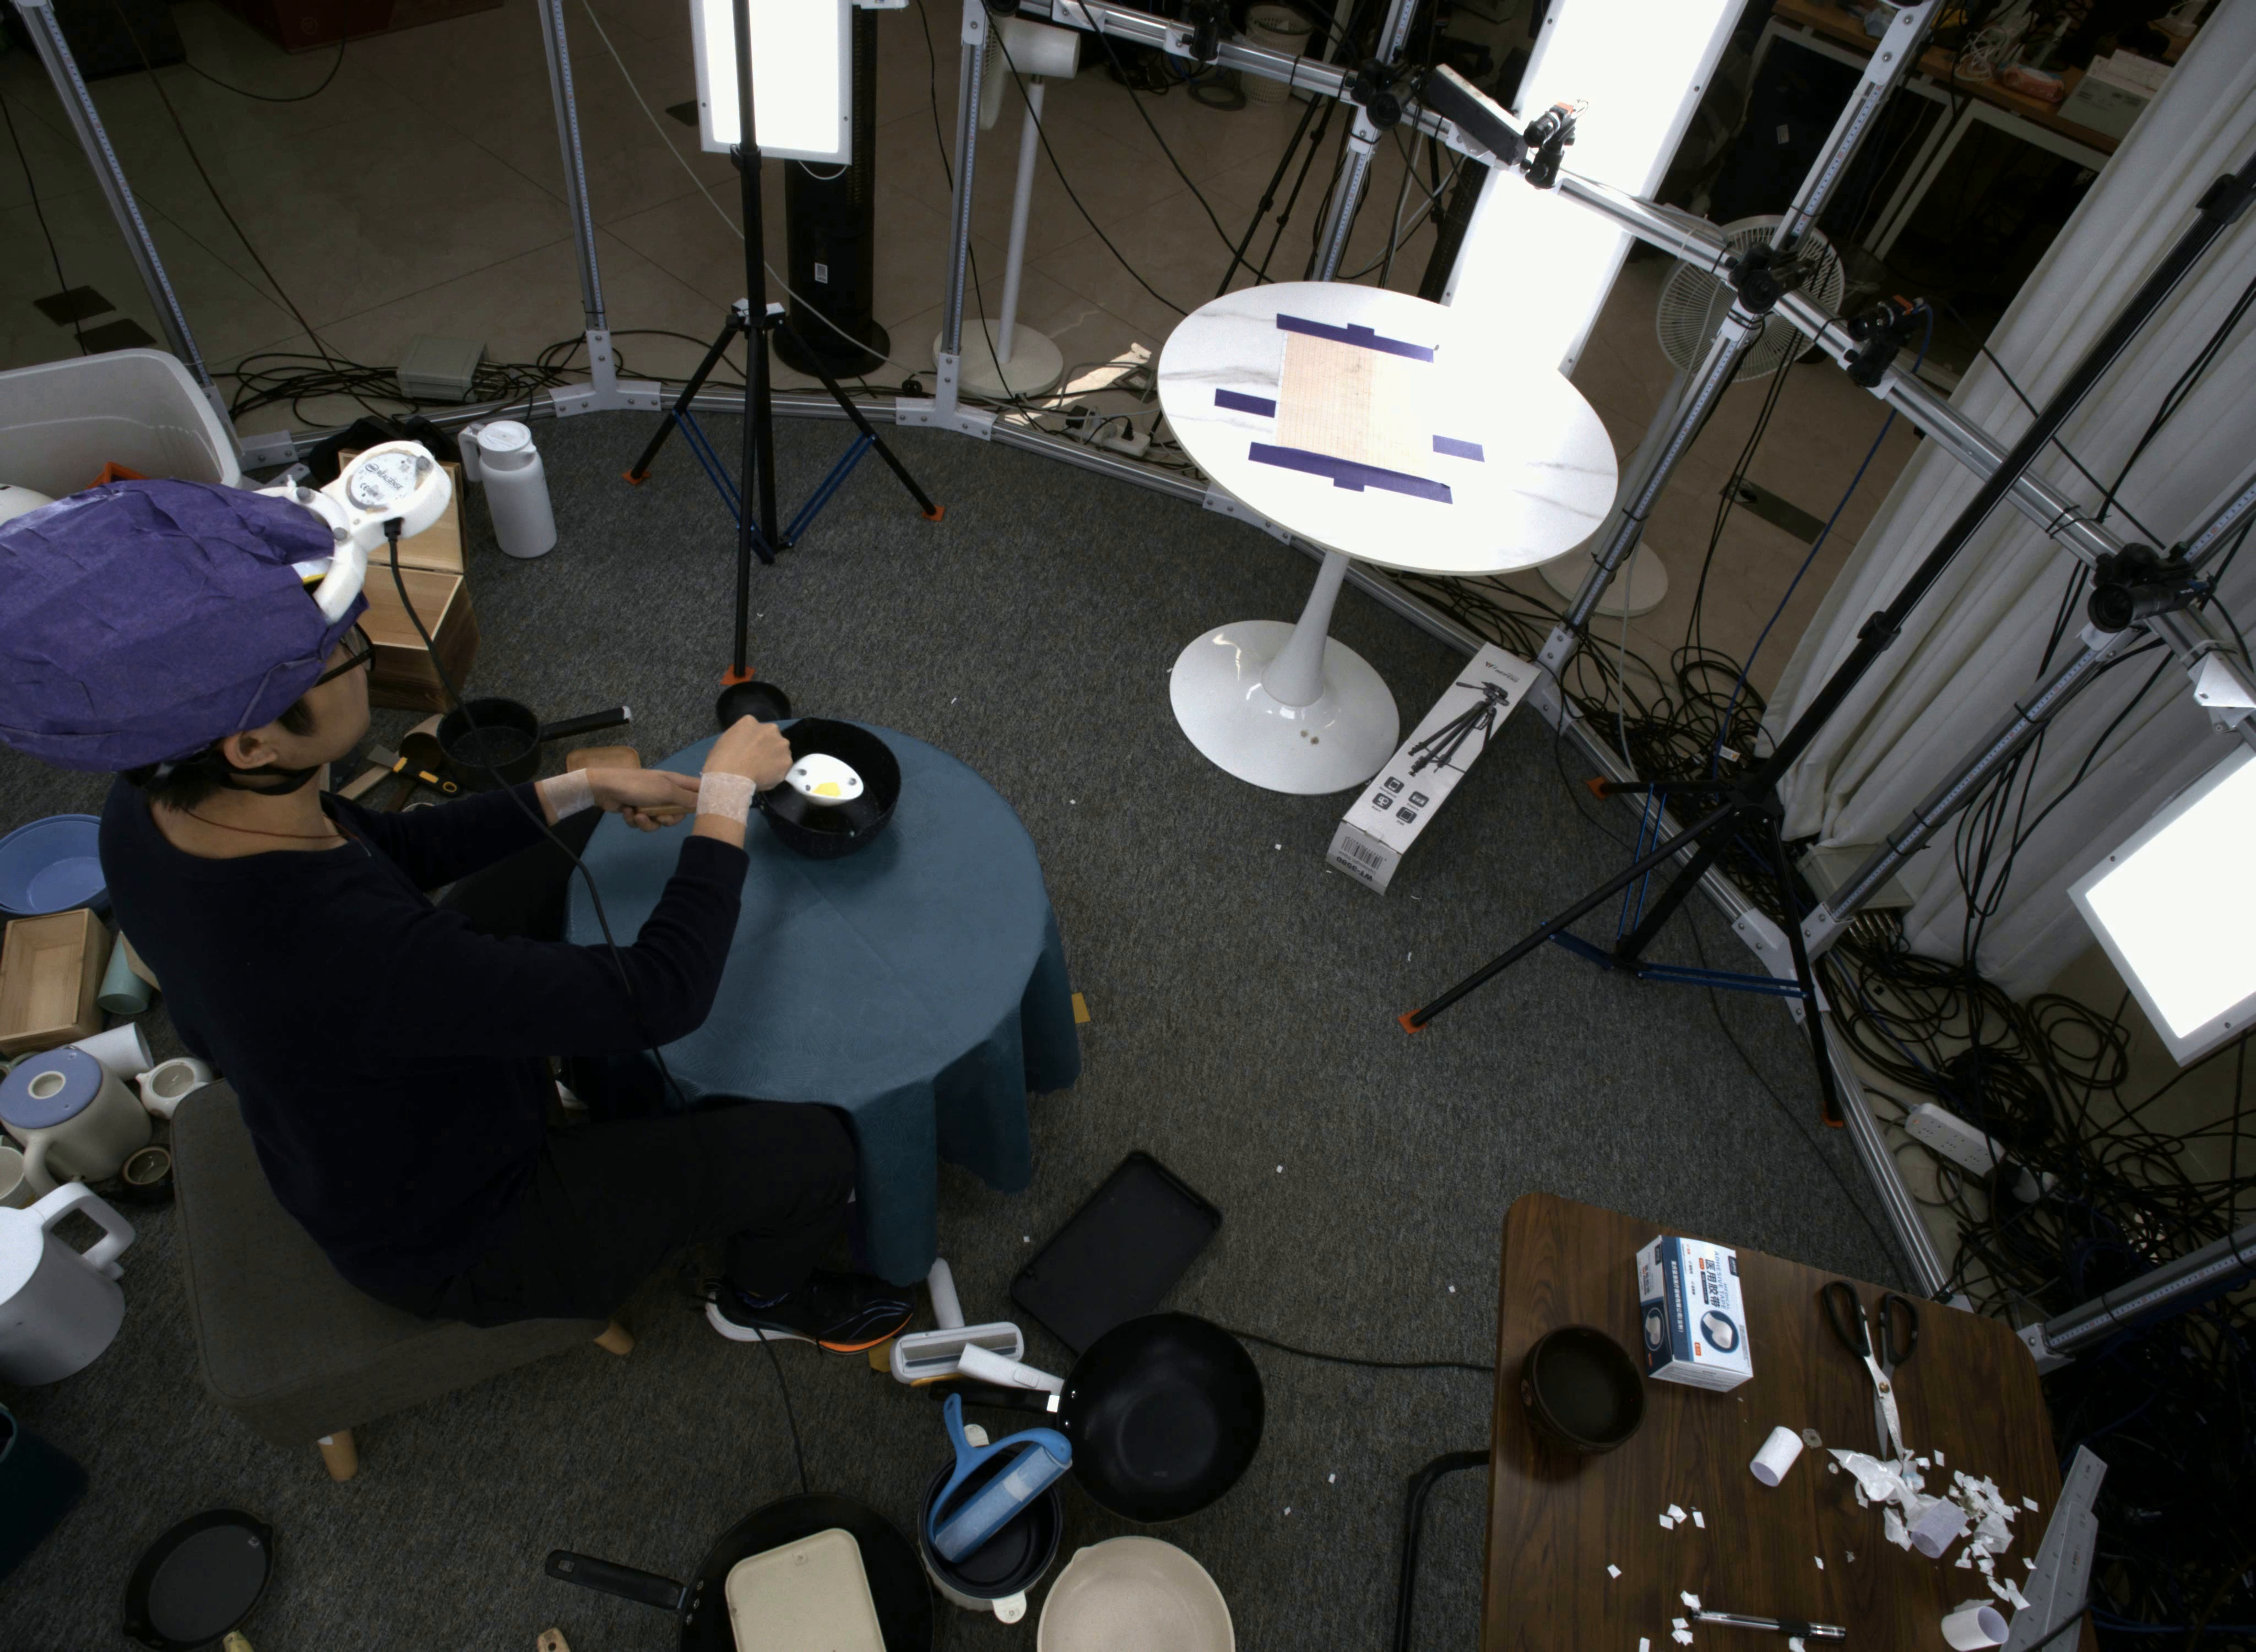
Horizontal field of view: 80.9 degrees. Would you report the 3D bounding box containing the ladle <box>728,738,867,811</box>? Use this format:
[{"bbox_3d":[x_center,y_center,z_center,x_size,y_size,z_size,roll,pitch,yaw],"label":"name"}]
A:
[{"bbox_3d":[-0.397,-0.071,1.564,0.070,0.296,0.089,-44,79,-2],"label":"ladle"}]

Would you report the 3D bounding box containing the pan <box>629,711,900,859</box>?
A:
[{"bbox_3d":[-0.460,-0.033,1.646,0.346,0.109,0.203,-14,63,-30],"label":"pan"}]
